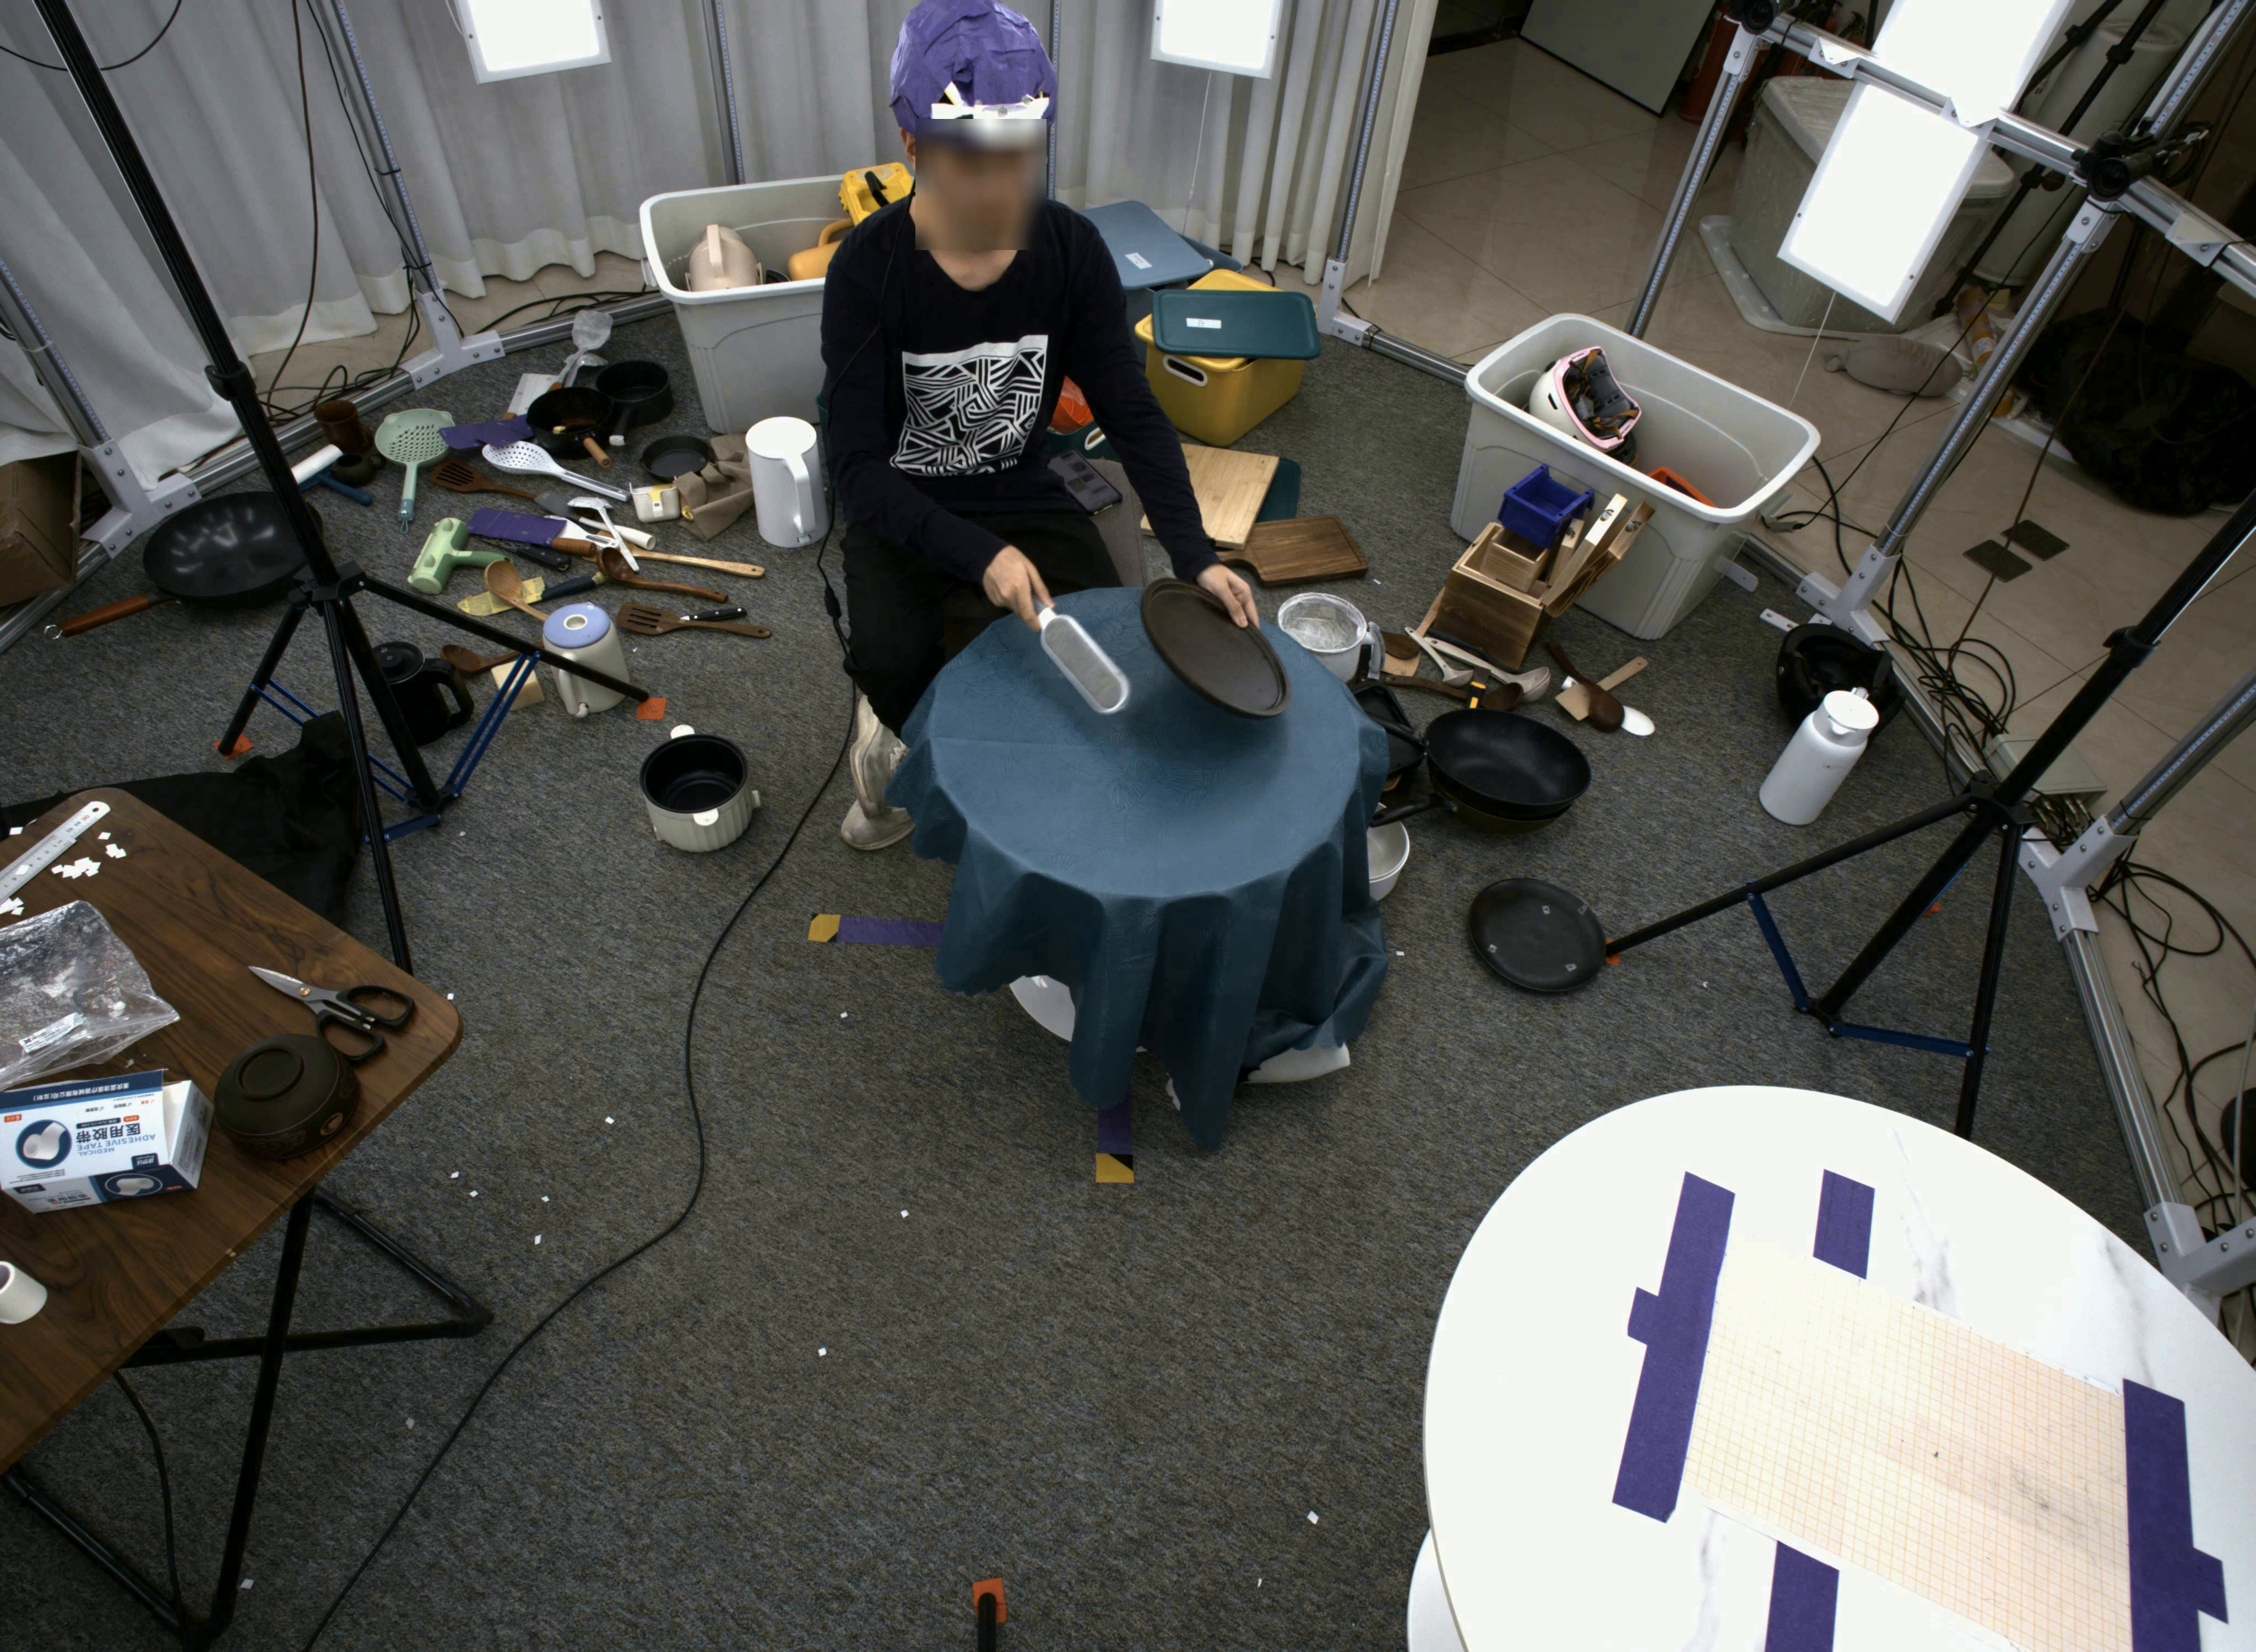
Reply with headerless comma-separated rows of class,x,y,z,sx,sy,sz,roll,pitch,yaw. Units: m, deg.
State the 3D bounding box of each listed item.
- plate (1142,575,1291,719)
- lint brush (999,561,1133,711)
plate,0.121,-0.244,1.755,0.252,0.028,0.261,29,35,-23
lint brush,-0.091,-0.274,1.809,0.314,0.059,0.021,50,21,27
